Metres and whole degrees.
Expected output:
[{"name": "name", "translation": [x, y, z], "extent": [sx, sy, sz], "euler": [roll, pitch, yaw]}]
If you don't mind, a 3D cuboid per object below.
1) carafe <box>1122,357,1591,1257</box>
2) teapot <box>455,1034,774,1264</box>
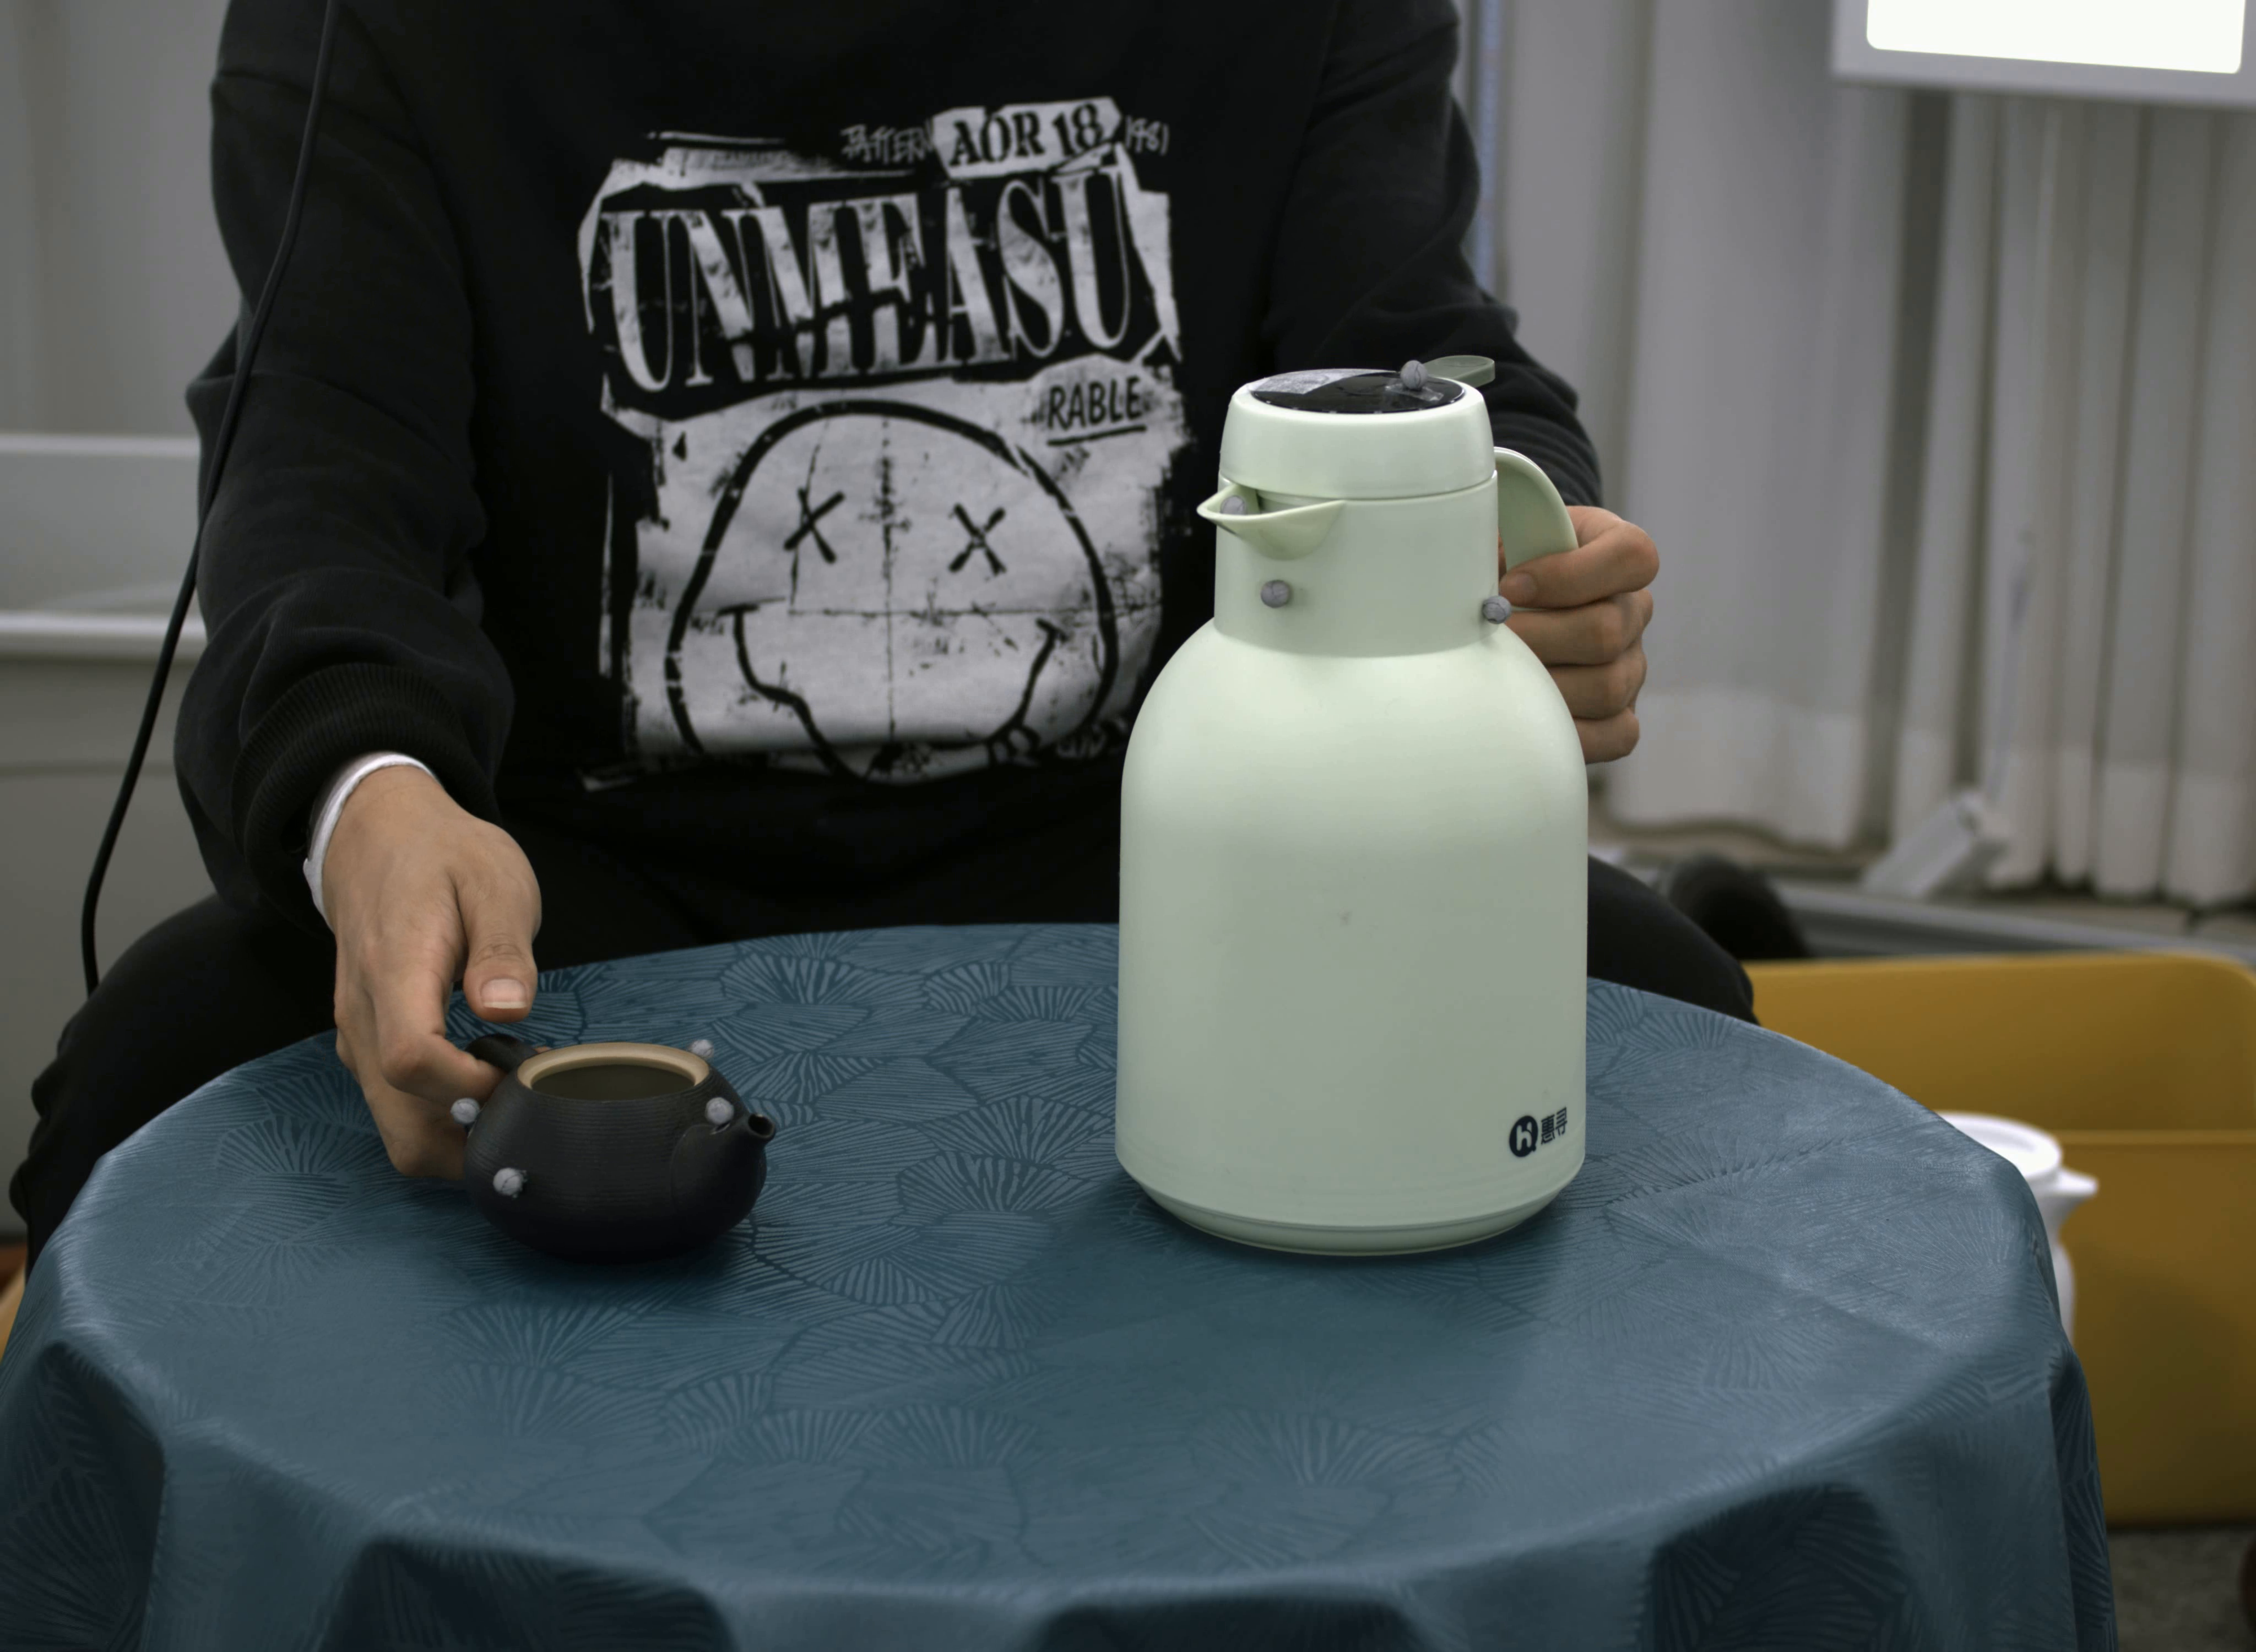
[{"name": "carafe", "translation": [0.077, -0.011, 1.599], "extent": [0.142, 0.258, 0.188], "euler": [9, 15, 34]}, {"name": "teapot", "translation": [-0.154, 0.097, 1.570], "extent": [0.131, 0.053, 0.091], "euler": [14, 19, 38]}]
